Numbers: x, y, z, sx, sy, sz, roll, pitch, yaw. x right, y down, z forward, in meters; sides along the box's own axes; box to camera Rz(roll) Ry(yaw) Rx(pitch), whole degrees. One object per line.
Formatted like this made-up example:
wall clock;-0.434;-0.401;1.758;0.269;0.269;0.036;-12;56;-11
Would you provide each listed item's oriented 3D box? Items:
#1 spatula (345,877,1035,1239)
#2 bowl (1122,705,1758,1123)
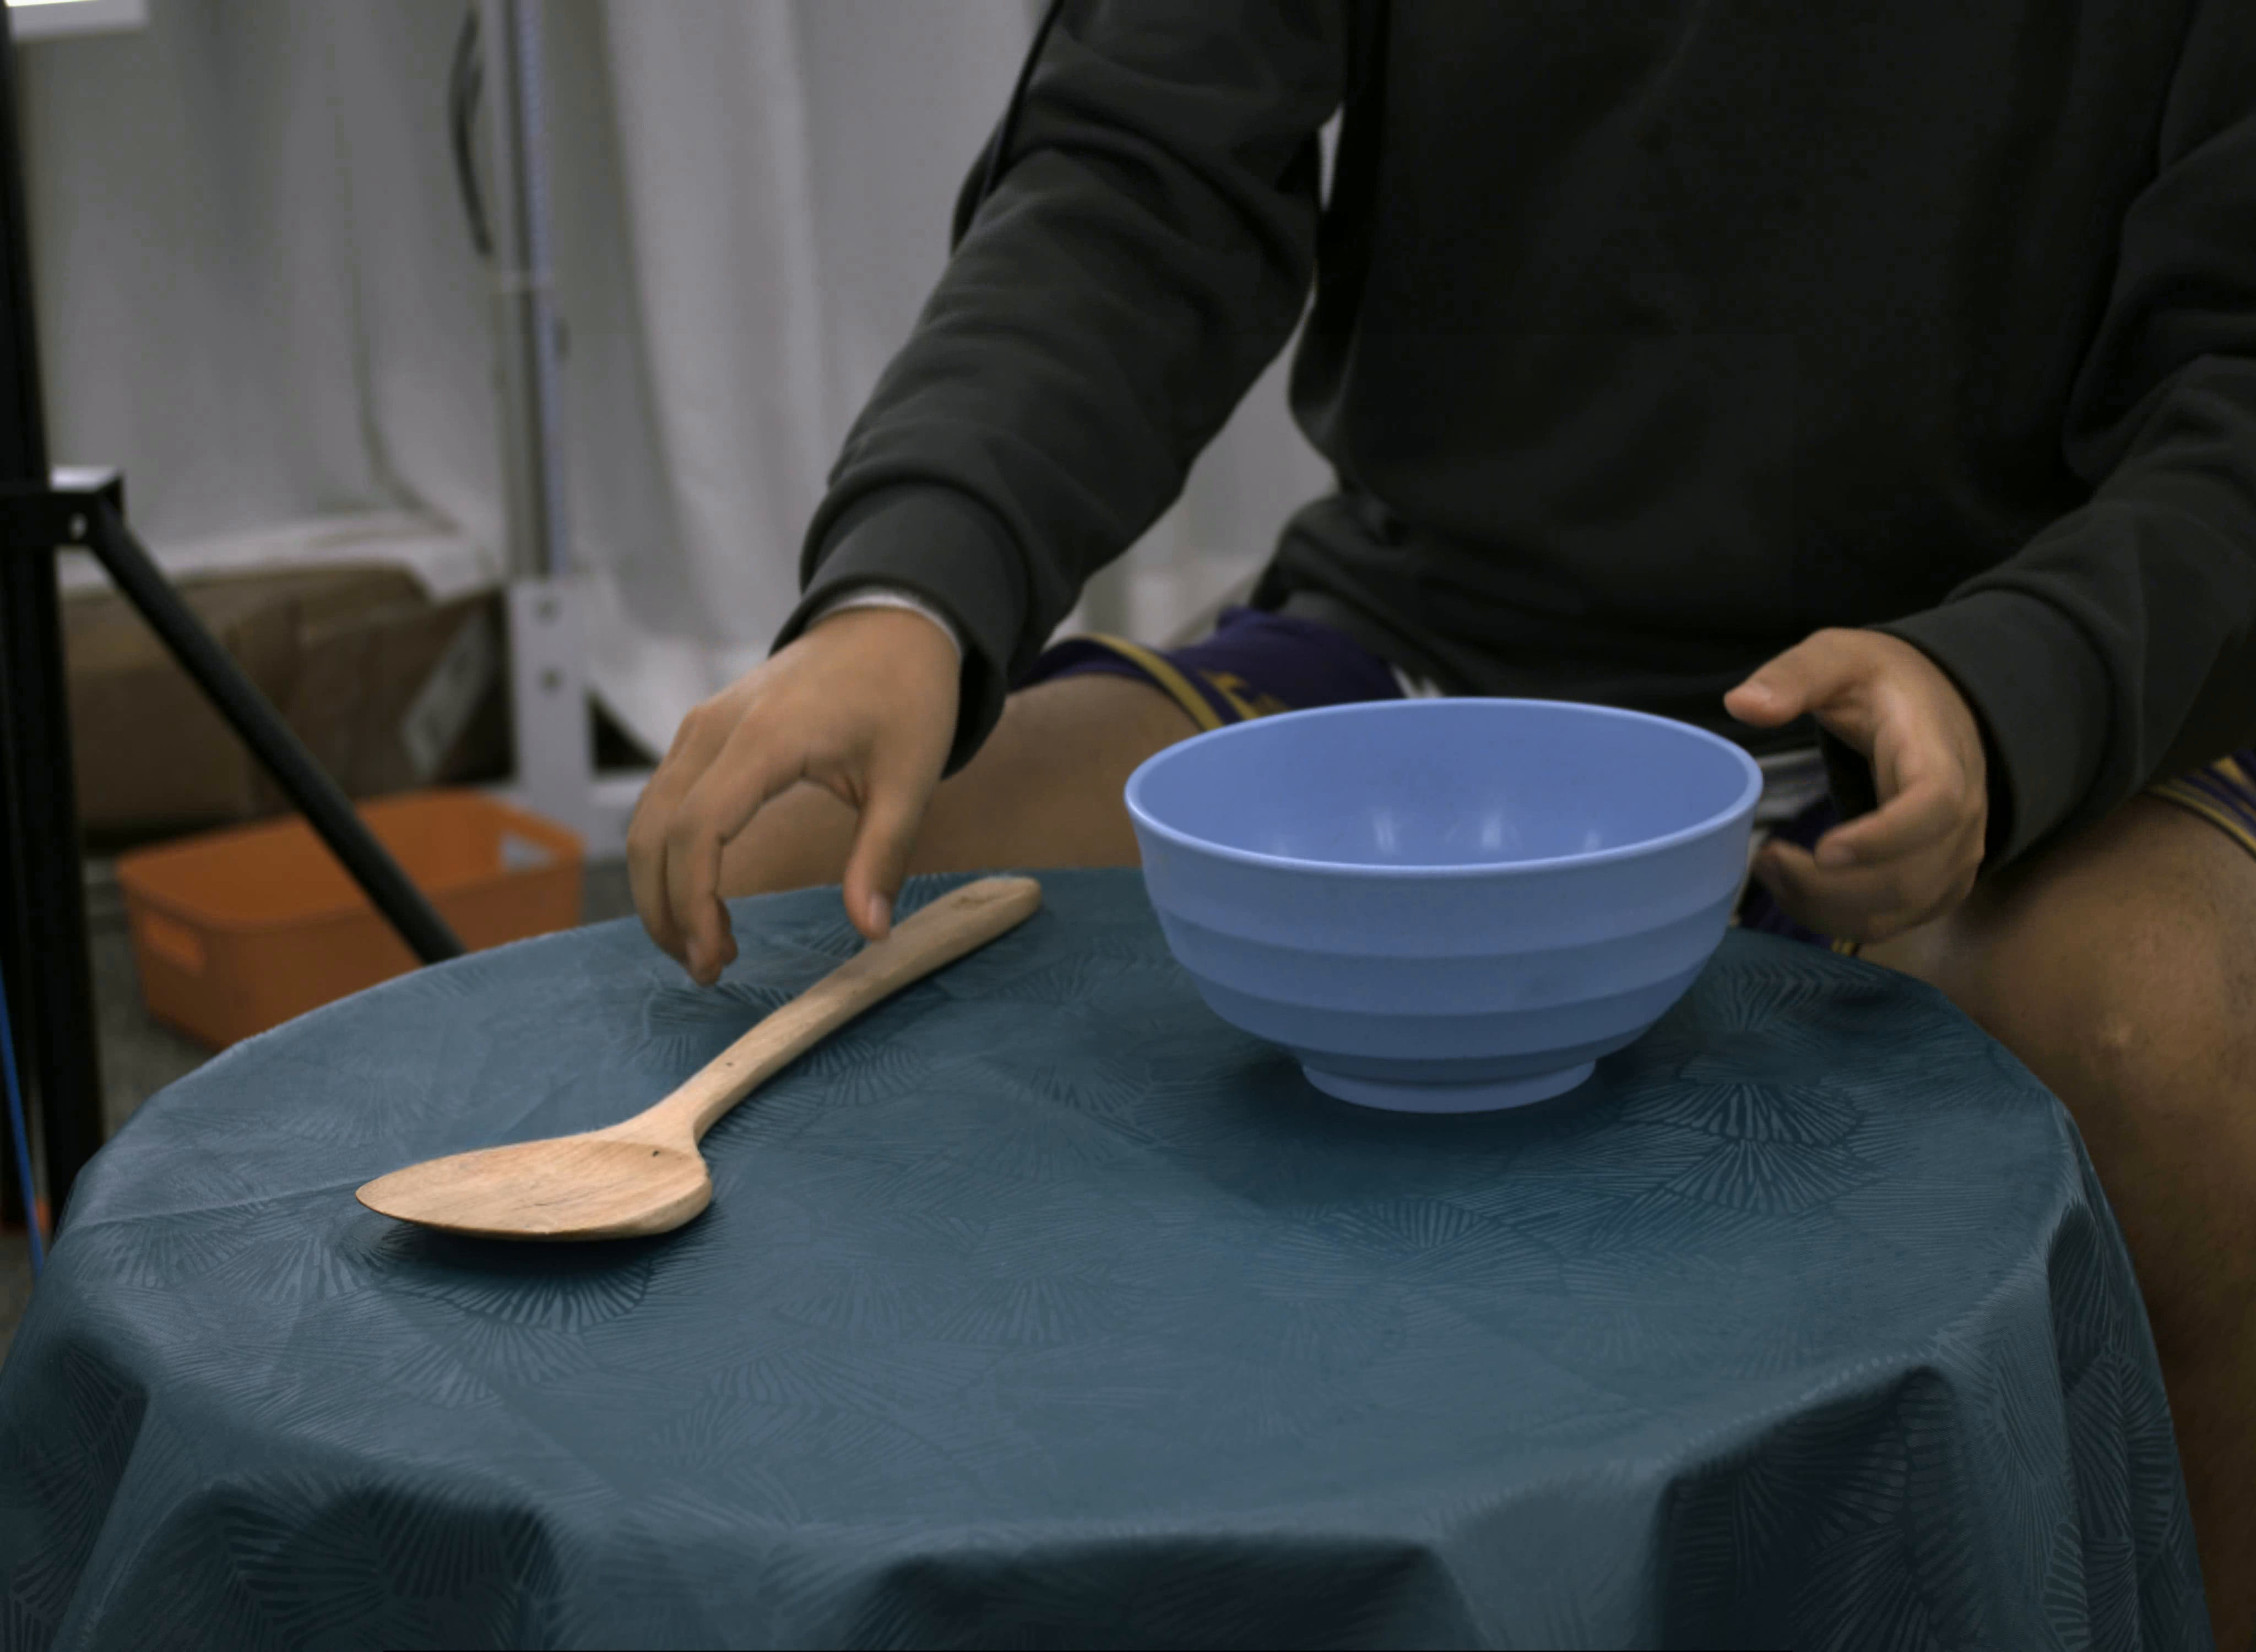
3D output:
spatula;-0.117;0.068;1.690;0.097;0.018;0.385;6;18;22
bowl;0.099;0.033;1.646;0.195;0.095;0.197;-5;16;0
